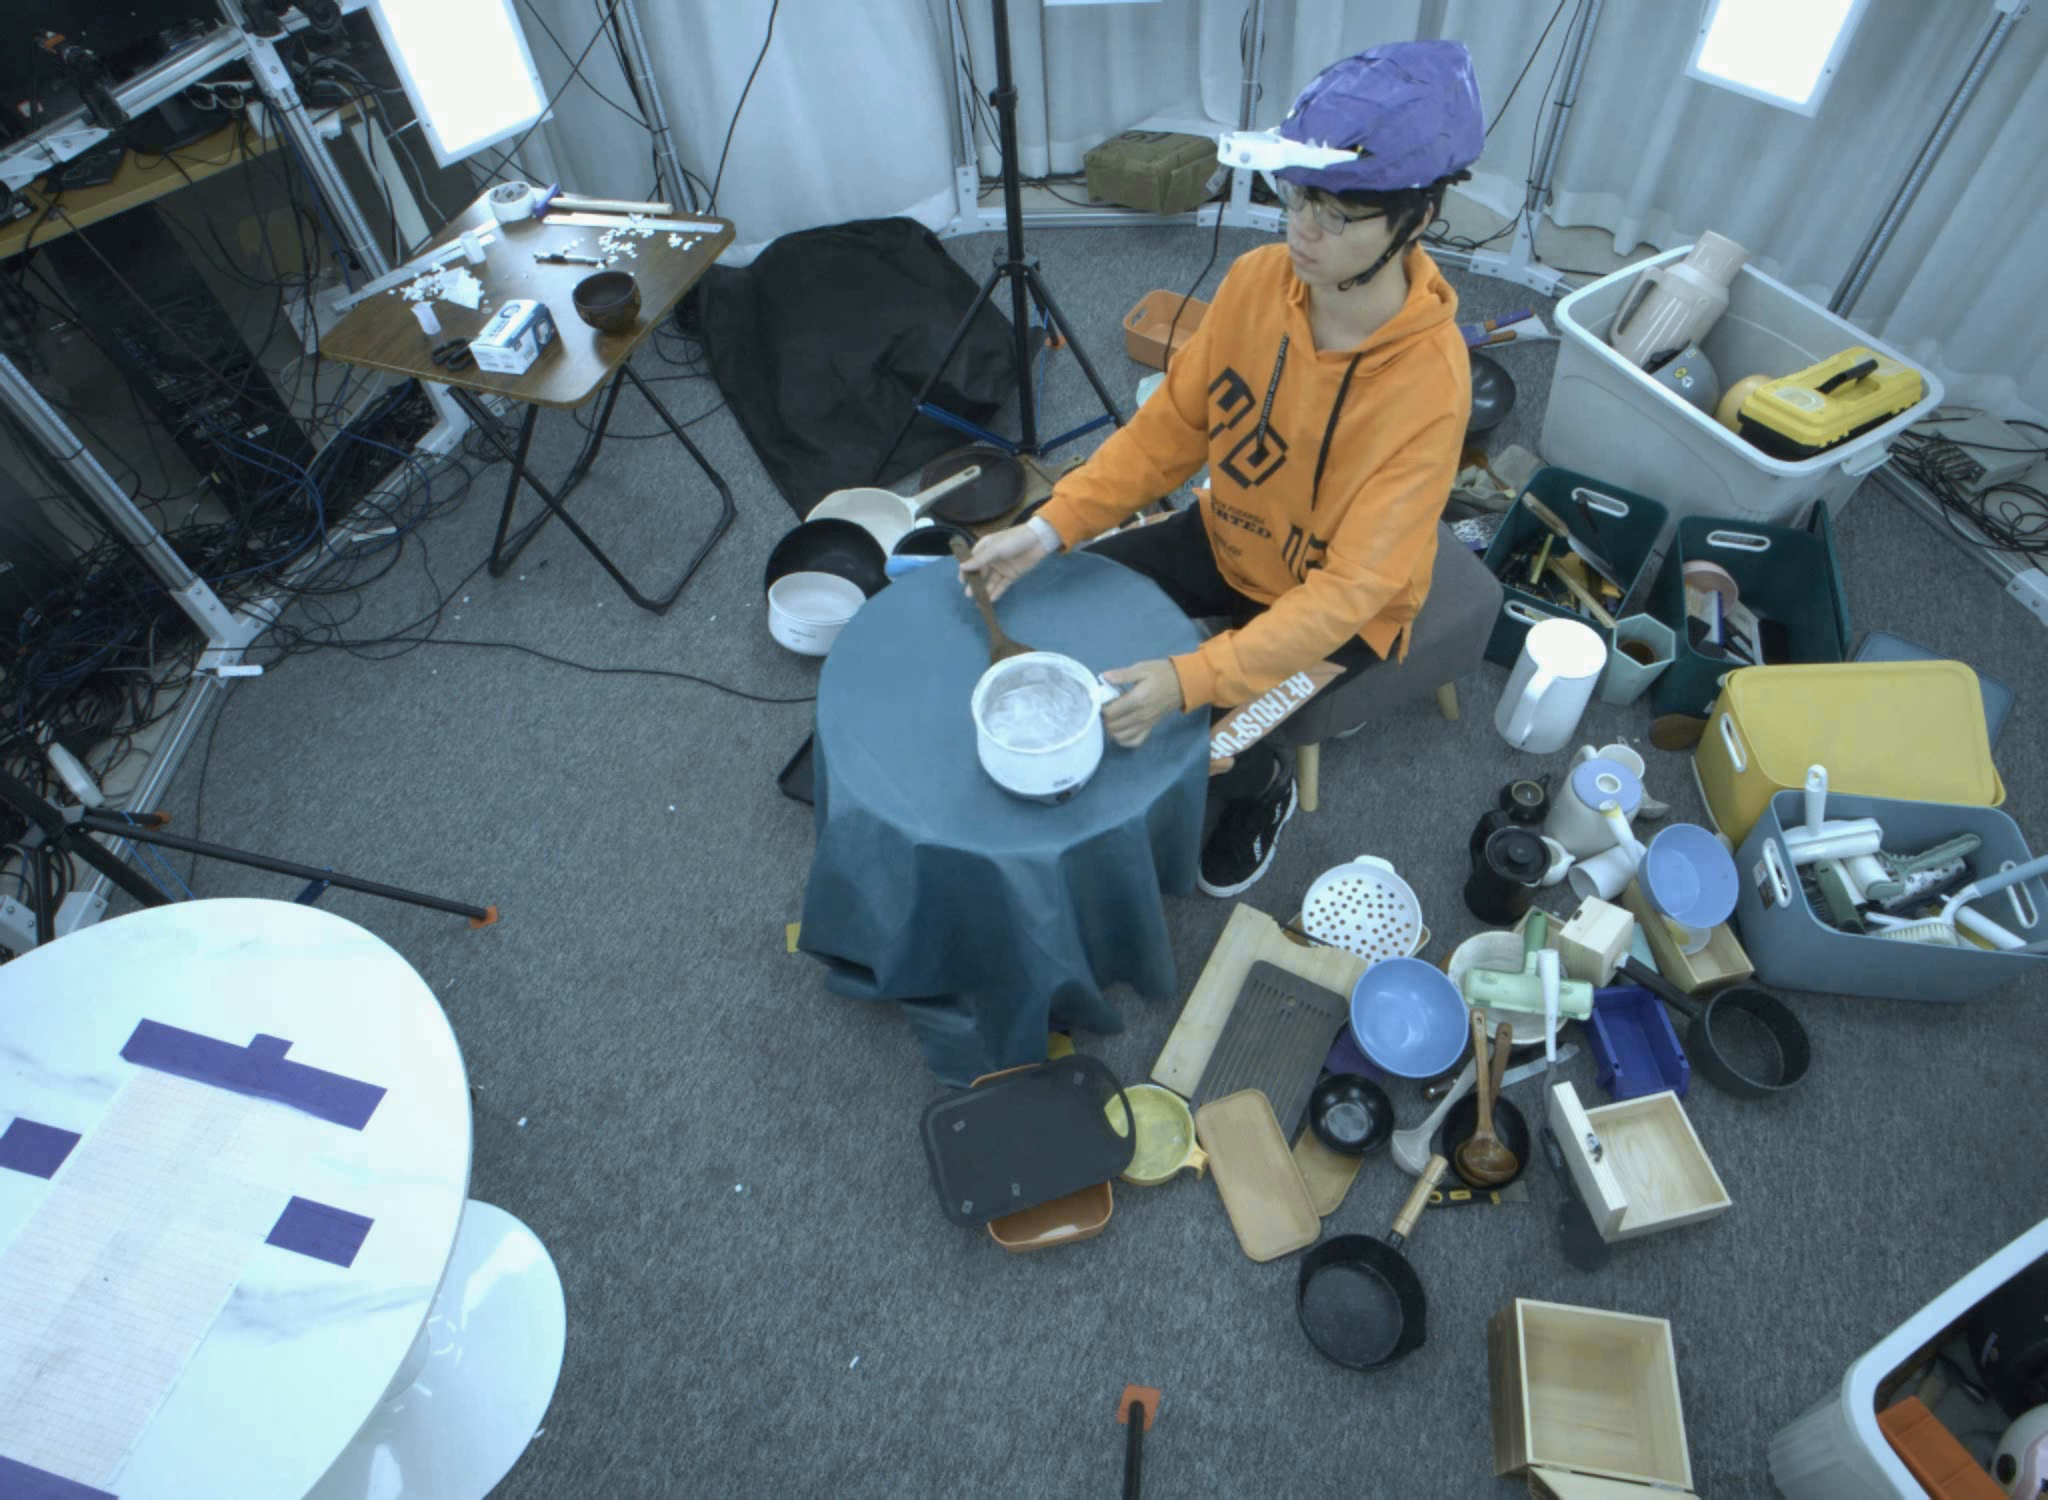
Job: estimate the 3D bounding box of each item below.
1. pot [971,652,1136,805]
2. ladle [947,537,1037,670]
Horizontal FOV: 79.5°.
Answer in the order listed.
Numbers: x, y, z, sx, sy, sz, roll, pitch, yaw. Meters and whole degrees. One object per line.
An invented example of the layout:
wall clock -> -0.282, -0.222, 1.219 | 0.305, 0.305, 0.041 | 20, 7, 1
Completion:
pot -> 0.046, -0.038, 1.728 | 0.235, 0.138, 0.175 | -21, 57, -11
ladle -> -0.057, -0.234, 1.884 | 0.077, 0.071, 0.271 | -16, 71, -21
